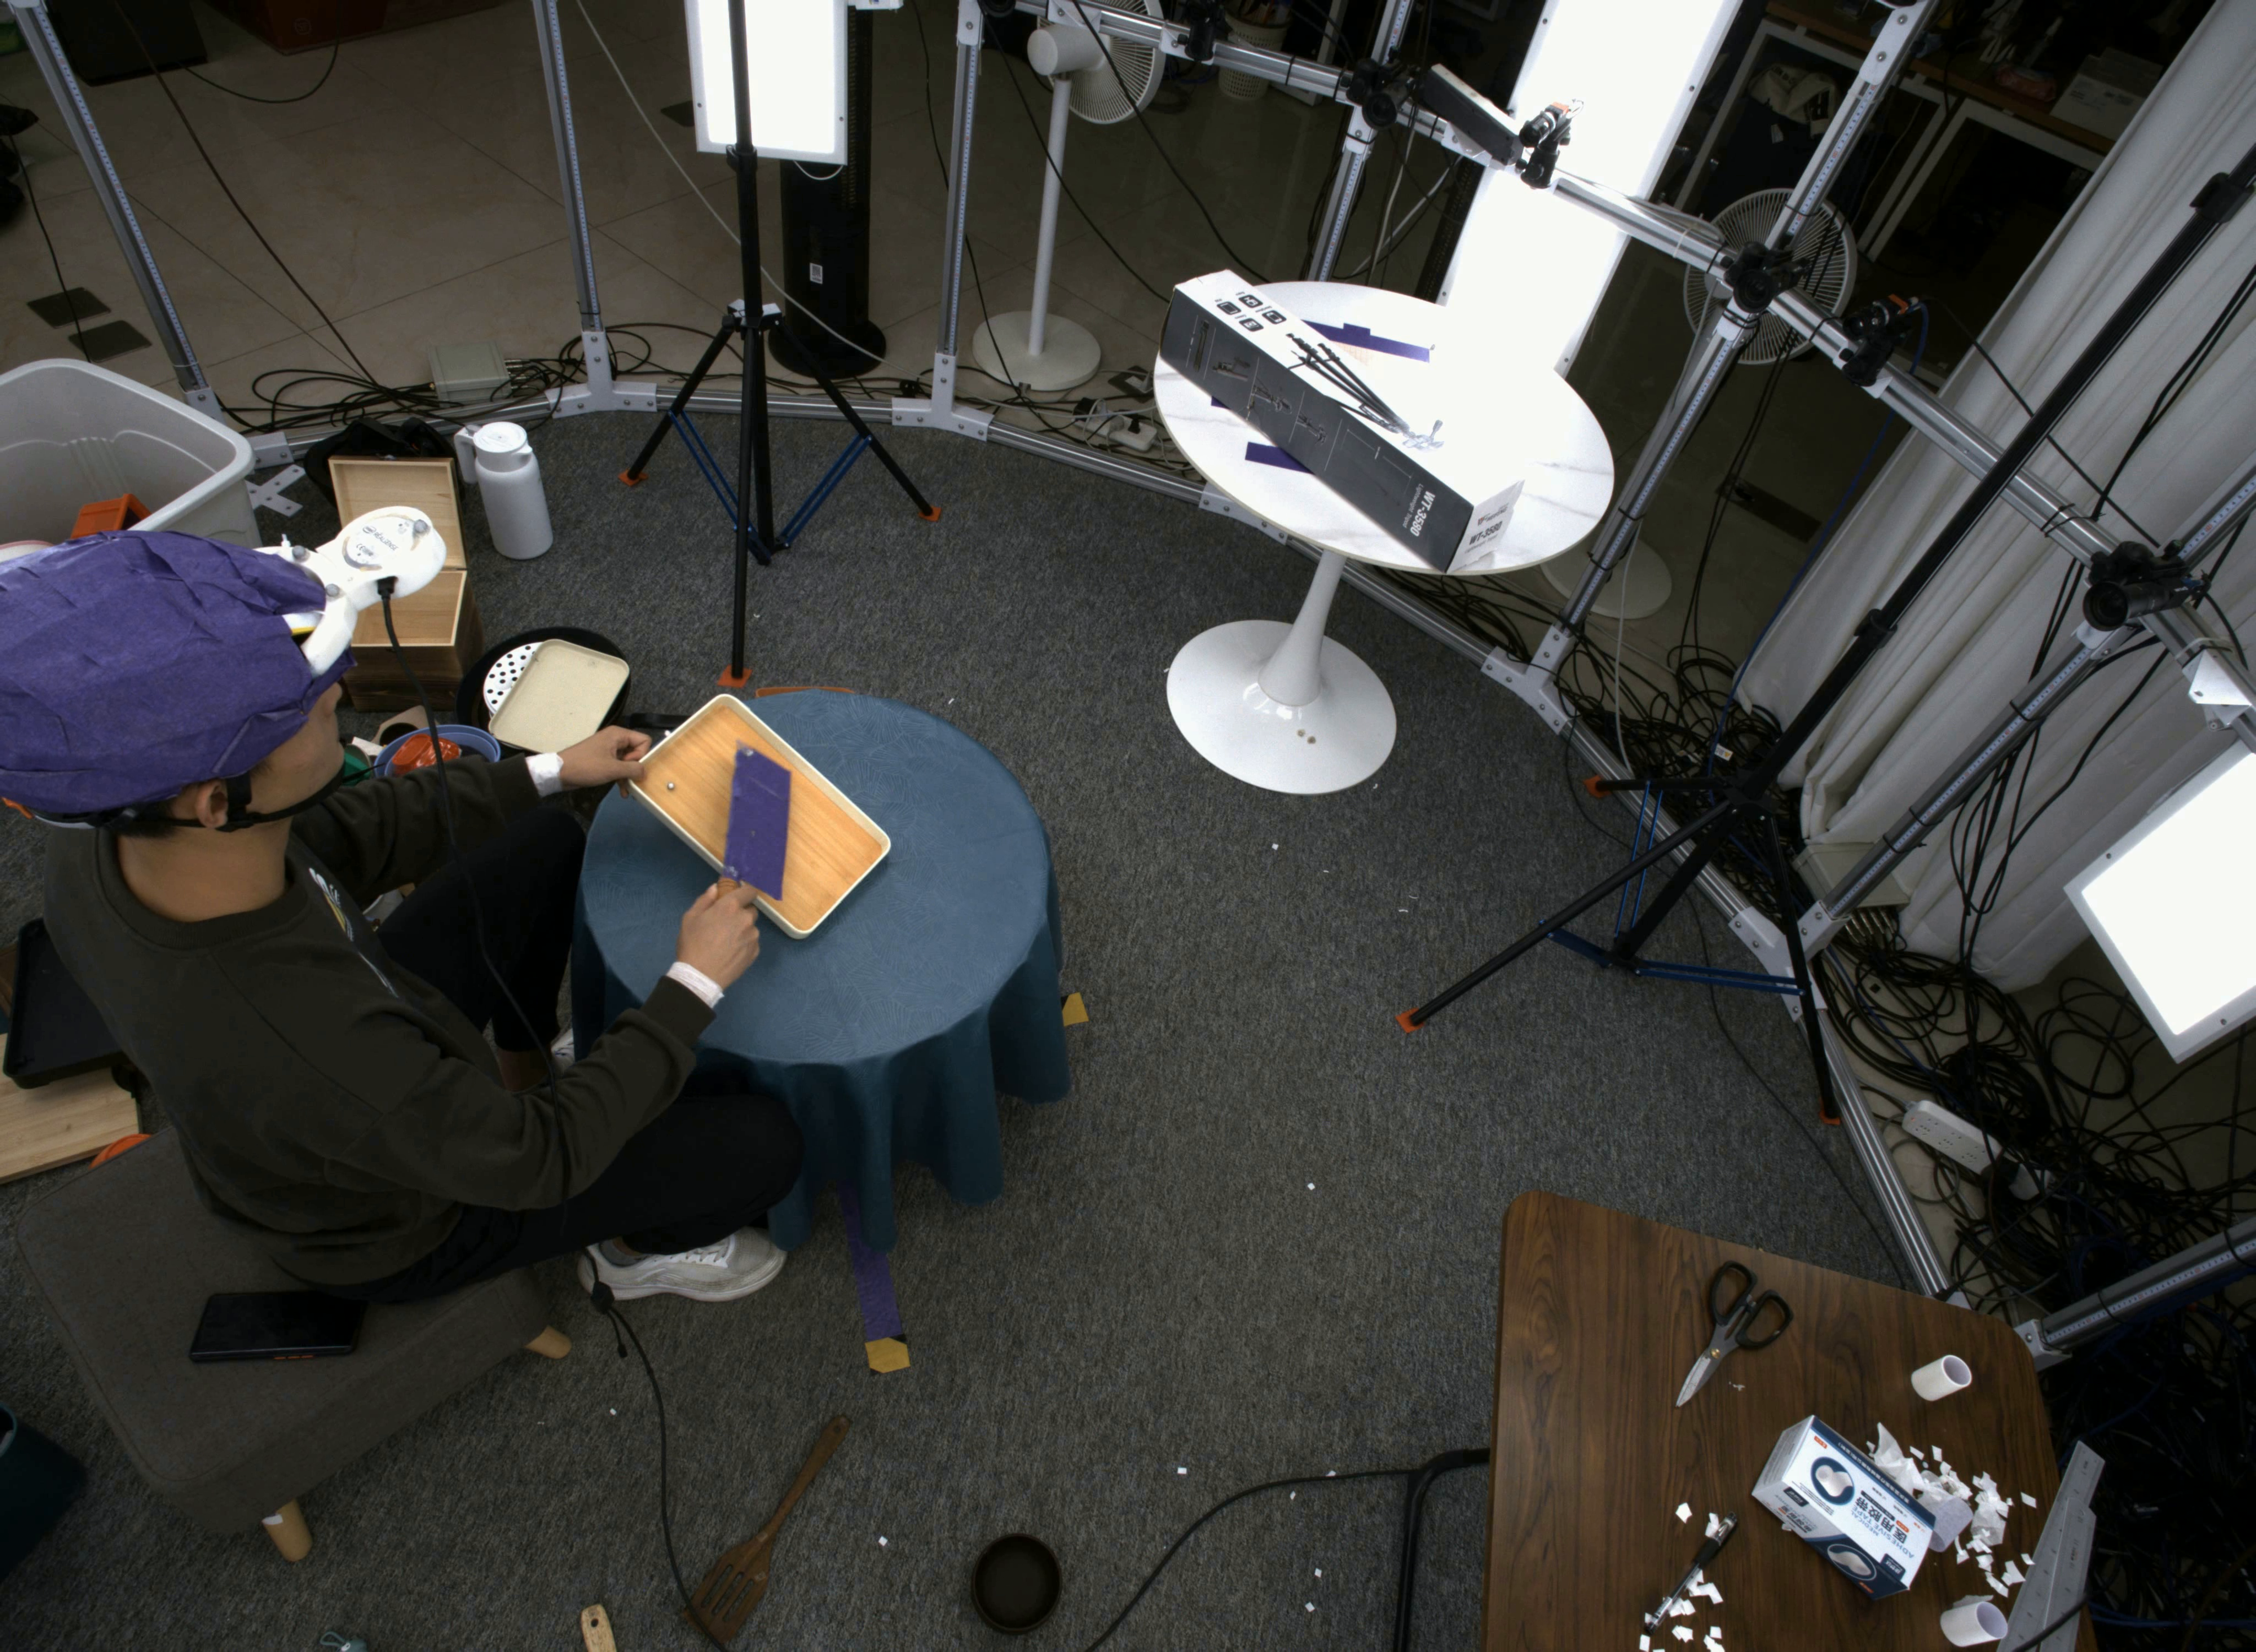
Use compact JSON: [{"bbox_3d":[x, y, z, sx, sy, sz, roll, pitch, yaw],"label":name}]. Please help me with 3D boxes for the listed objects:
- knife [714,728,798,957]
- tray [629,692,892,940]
[{"bbox_3d":[-0.441,0.024,1.549,0.107,0.031,0.309,37,38,-44],"label":"knife"},{"bbox_3d":[-0.468,-0.016,1.653,0.303,0.027,0.191,43,54,-8],"label":"tray"}]
